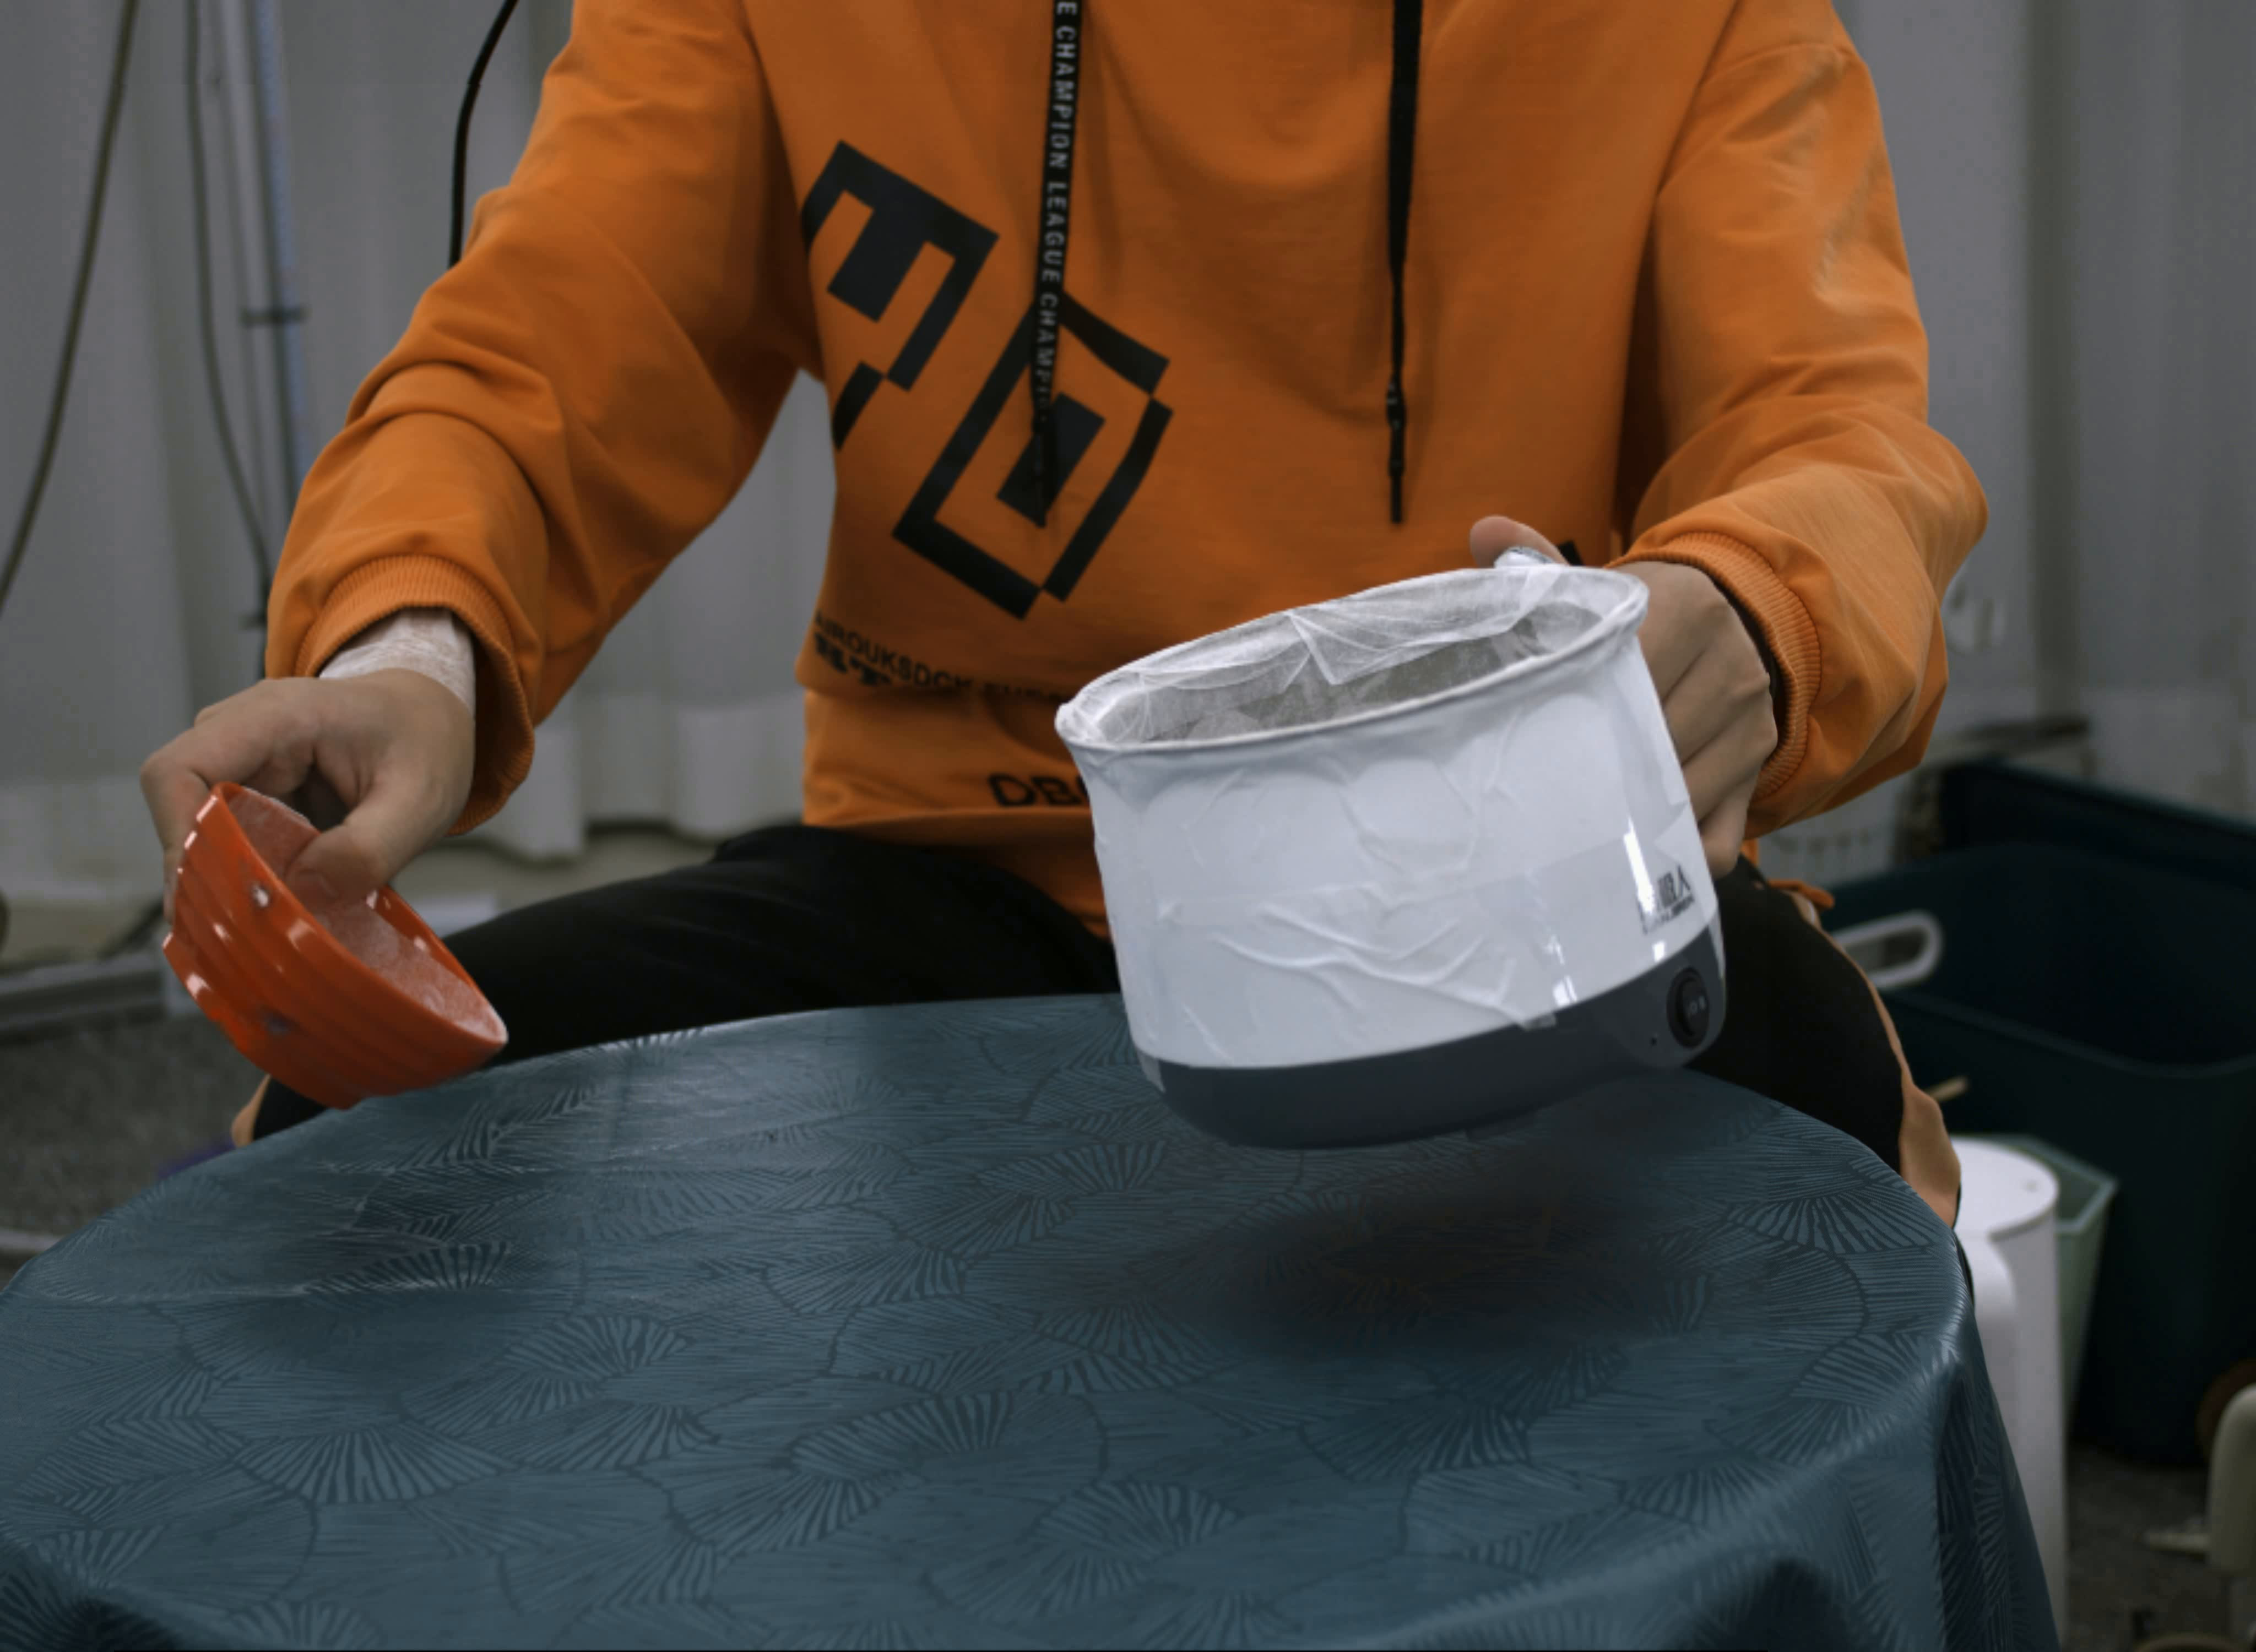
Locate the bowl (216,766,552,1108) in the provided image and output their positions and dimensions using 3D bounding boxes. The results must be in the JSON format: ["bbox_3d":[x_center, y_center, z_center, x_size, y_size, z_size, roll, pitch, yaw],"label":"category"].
[{"bbox_3d":[-0.234,0.041,1.663,0.118,0.051,0.120,35,23,-17],"label":"bowl"}]

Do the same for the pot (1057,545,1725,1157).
[{"bbox_3d":[0.093,0.002,1.621,0.179,0.136,0.234,-4,16,35],"label":"pot"}]
